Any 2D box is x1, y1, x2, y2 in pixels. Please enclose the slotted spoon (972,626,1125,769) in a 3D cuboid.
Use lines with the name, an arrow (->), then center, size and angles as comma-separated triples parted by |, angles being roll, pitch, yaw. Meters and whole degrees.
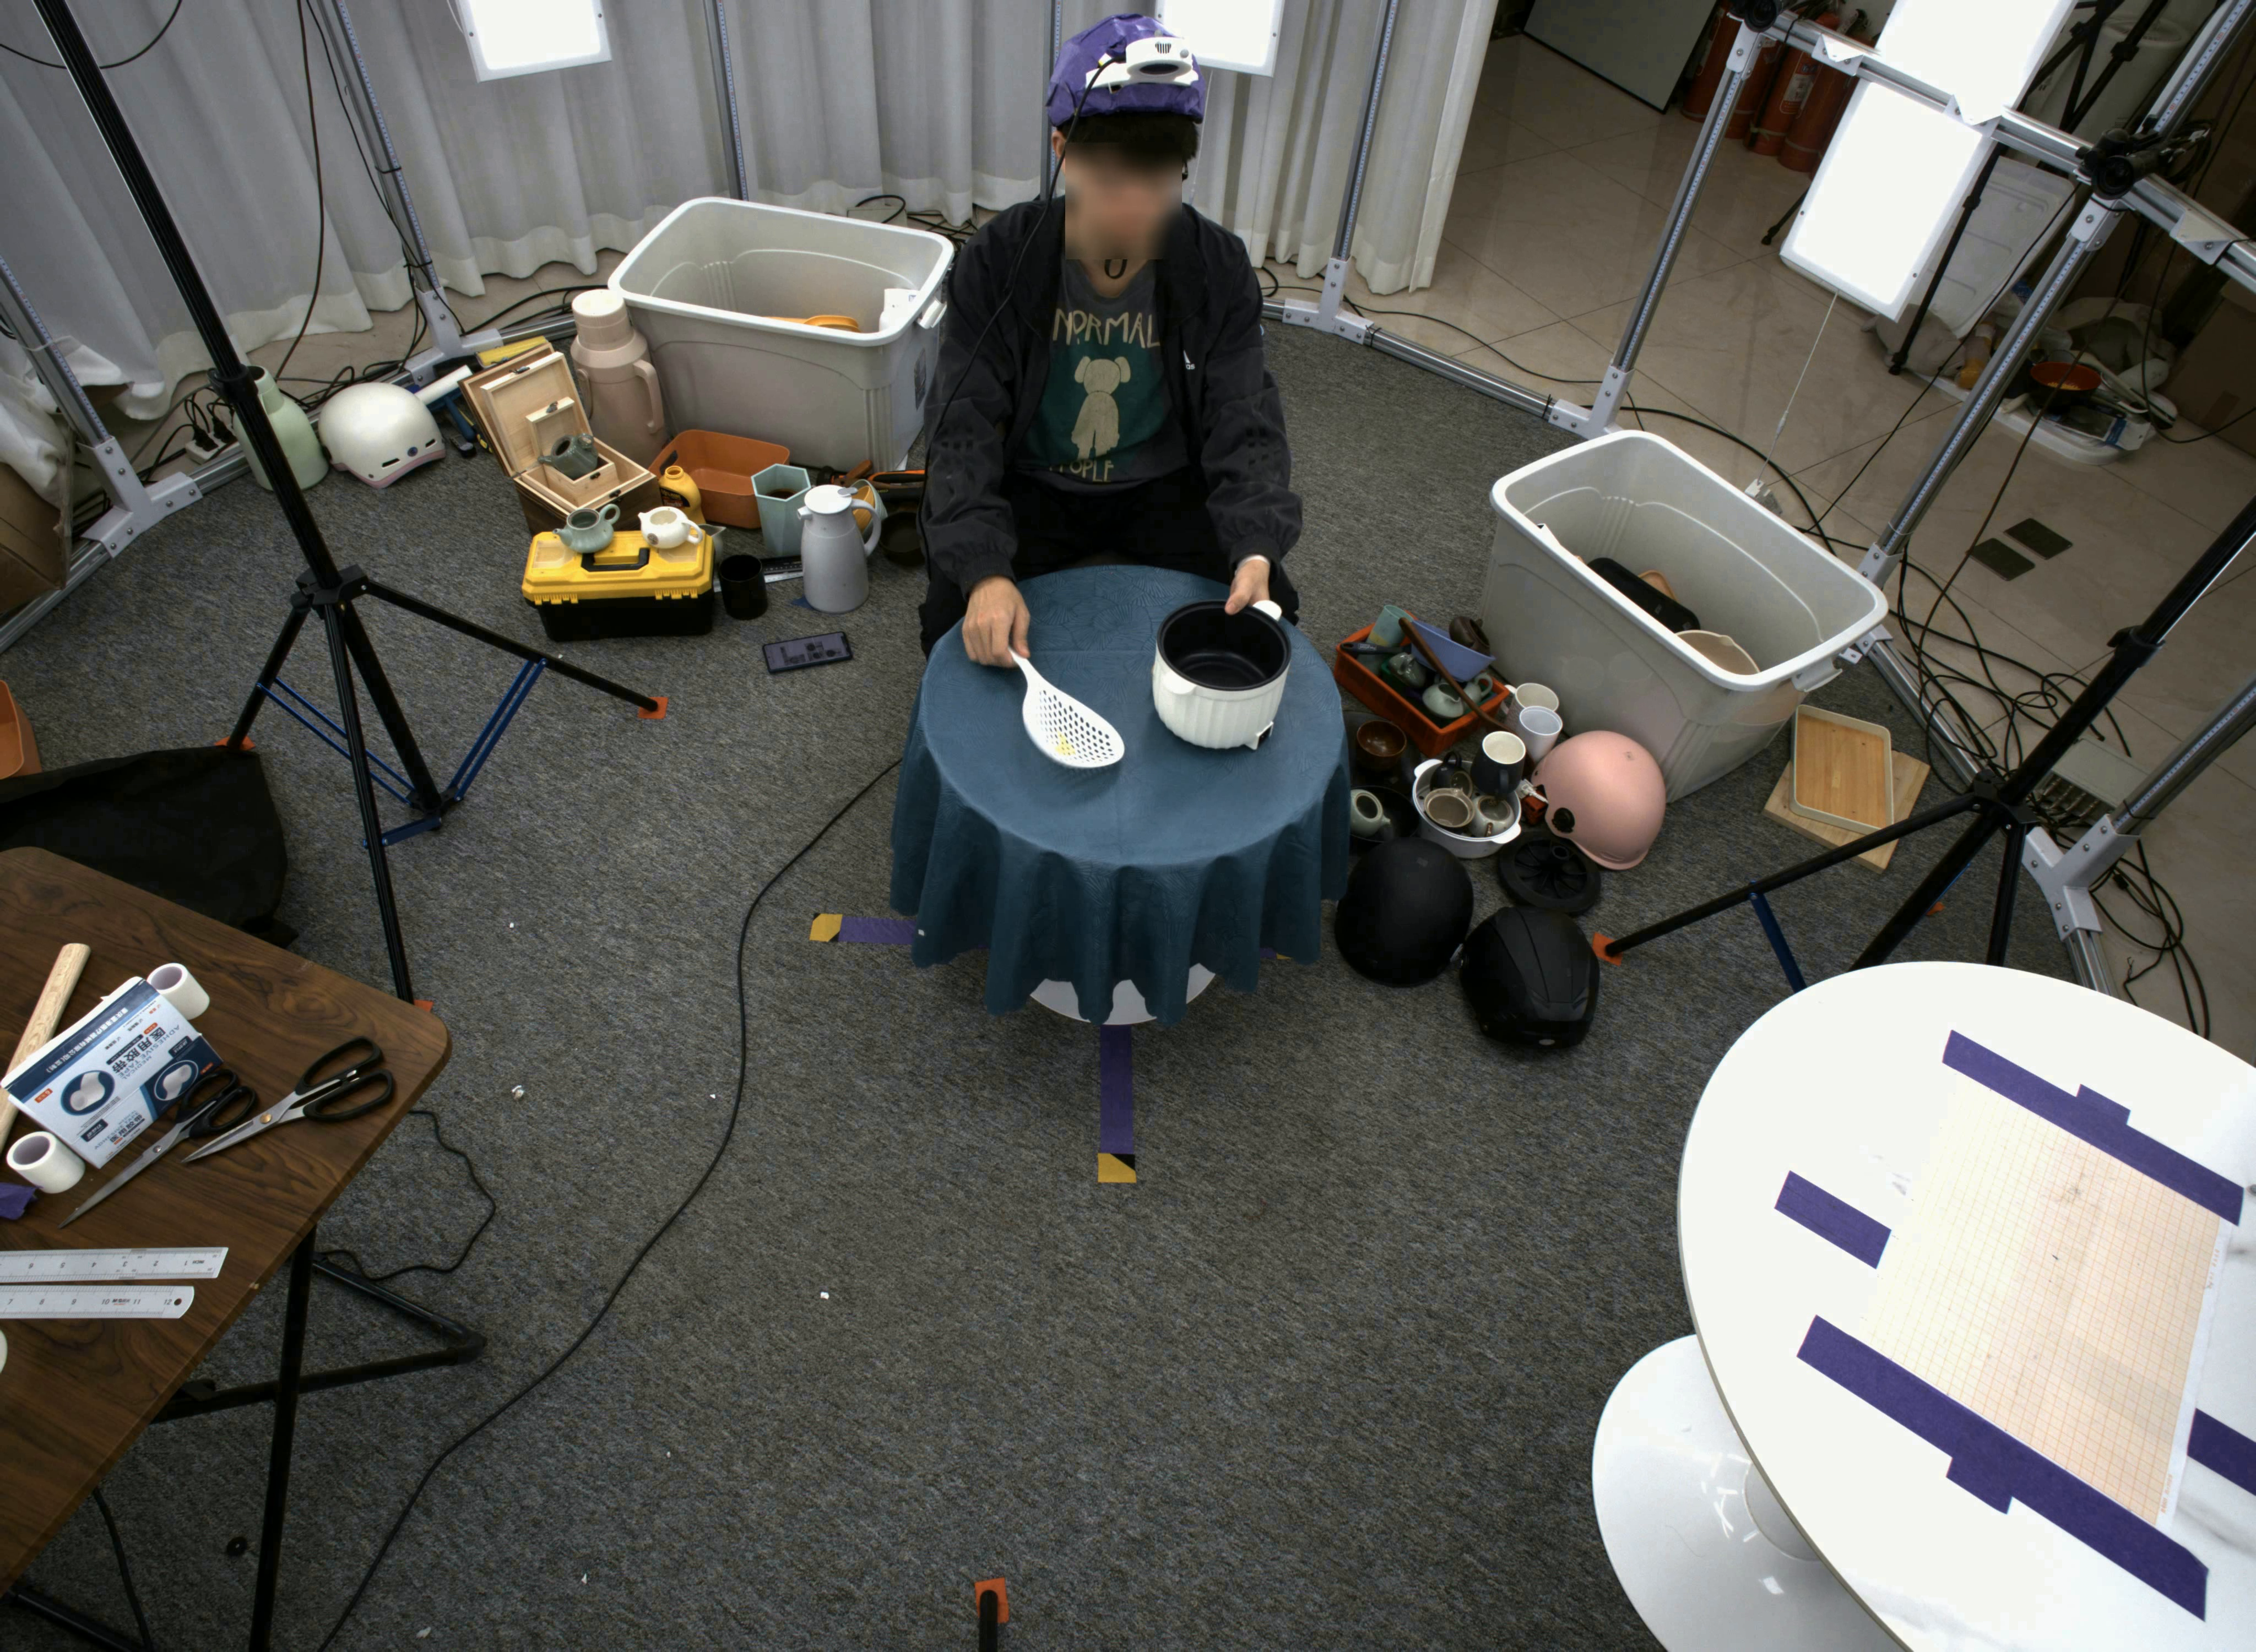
slotted spoon -> -0.129, -0.189, 1.789 | 0.137, 0.049, 0.355 | -11, 51, -30

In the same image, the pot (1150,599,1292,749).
pot -> 0.118, -0.203, 1.760 | 0.193, 0.139, 0.243 | 34, 53, 20
